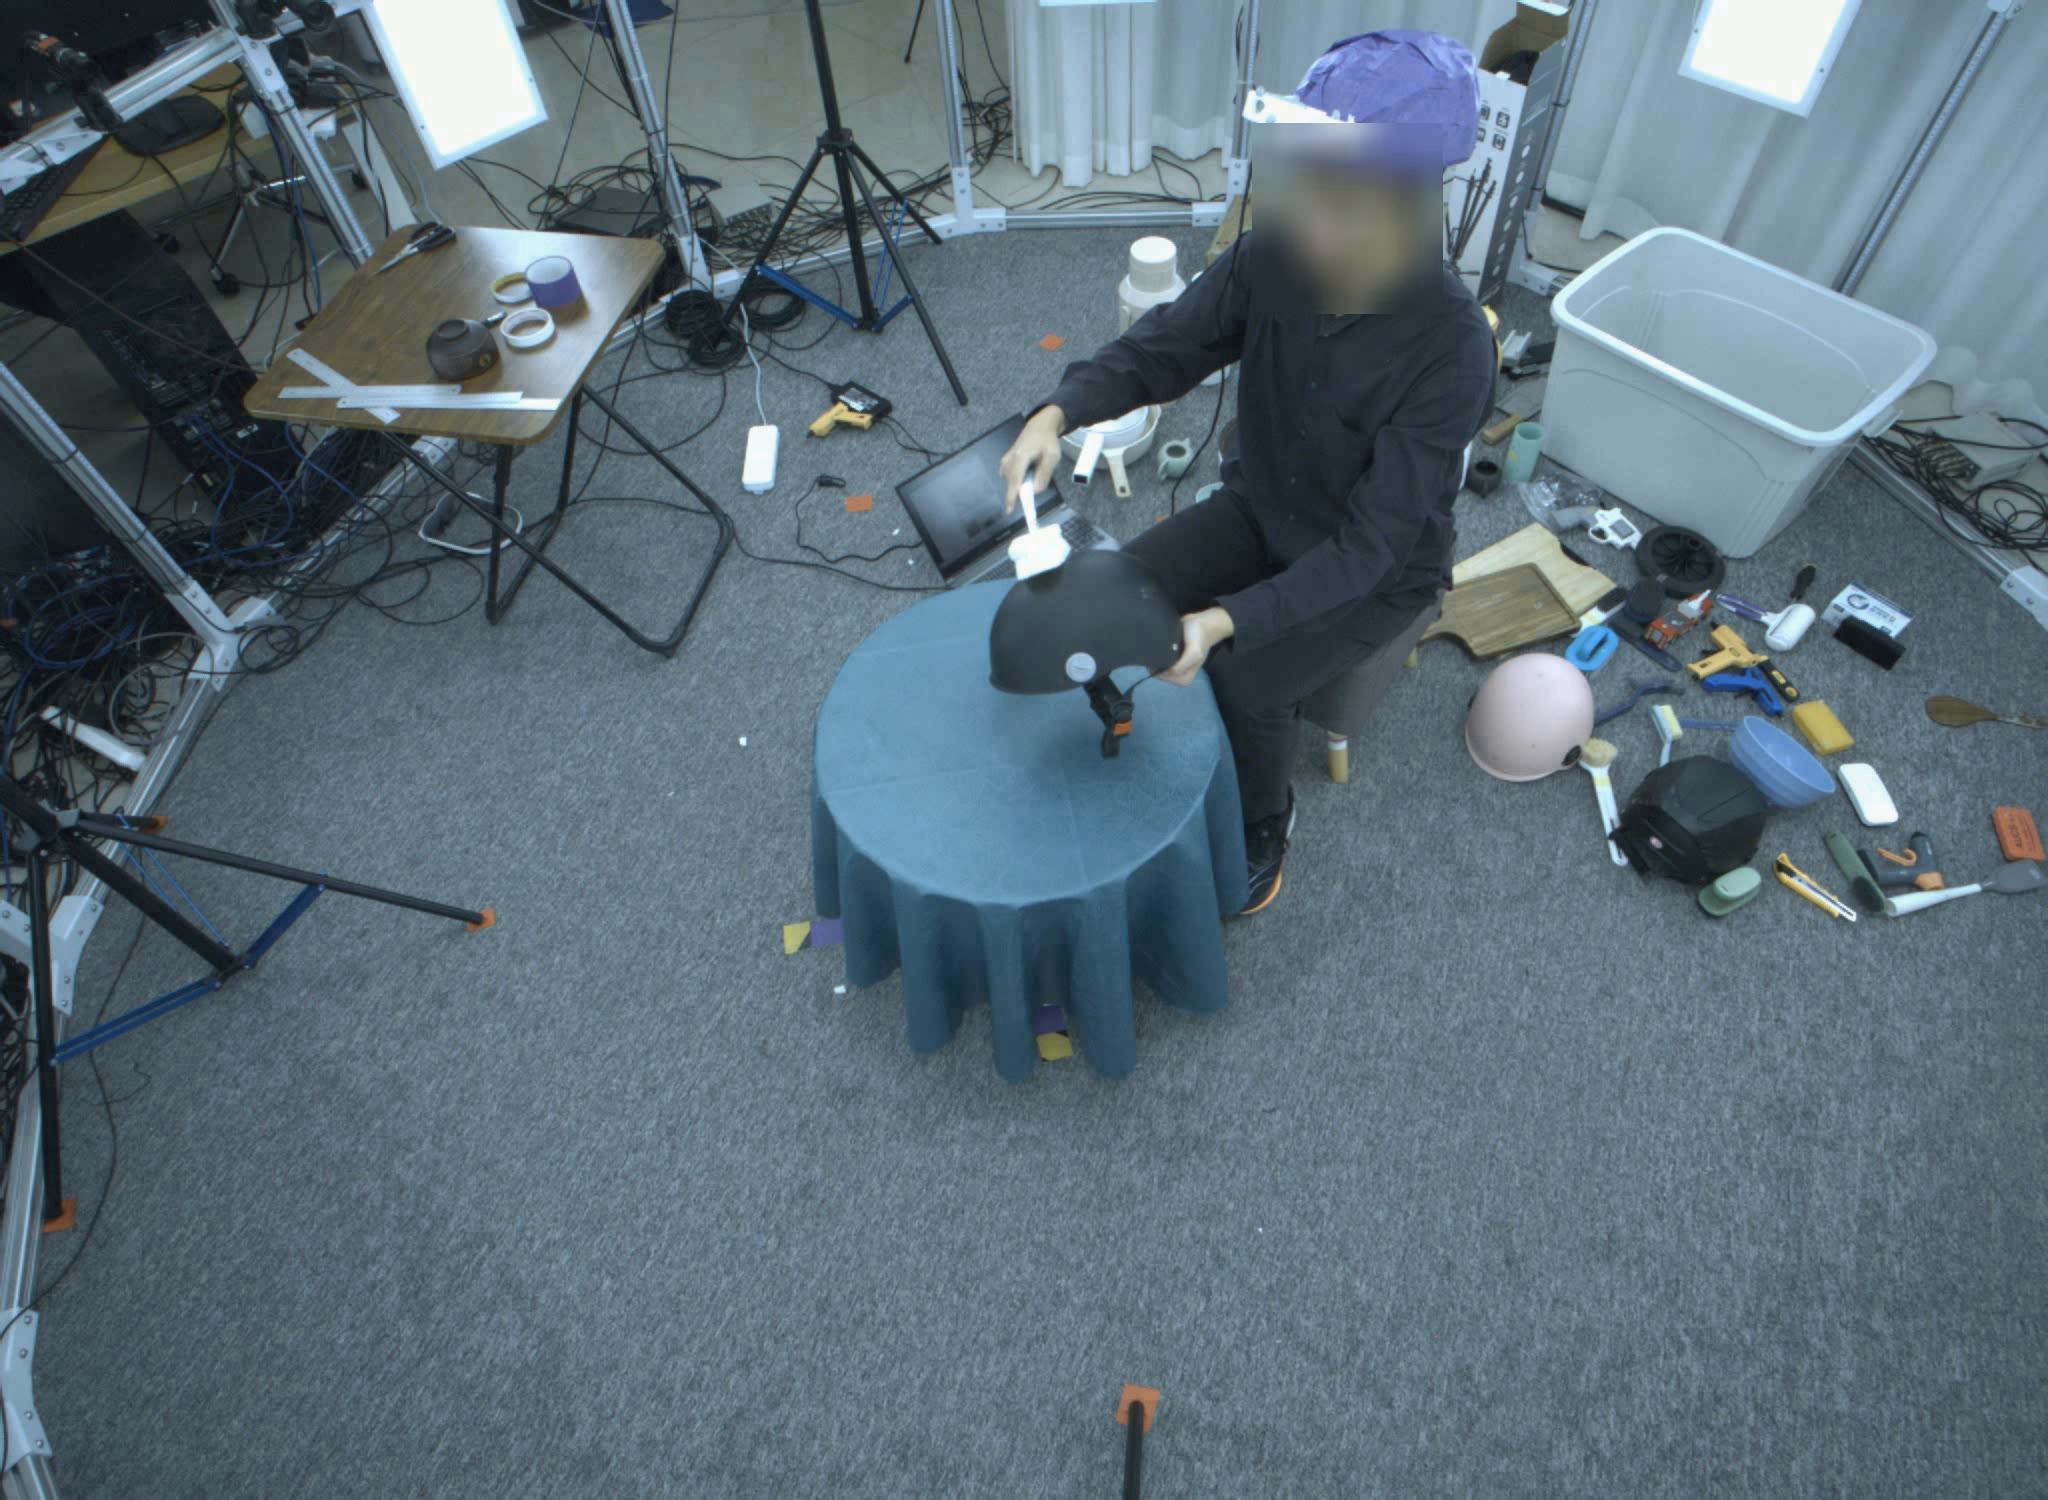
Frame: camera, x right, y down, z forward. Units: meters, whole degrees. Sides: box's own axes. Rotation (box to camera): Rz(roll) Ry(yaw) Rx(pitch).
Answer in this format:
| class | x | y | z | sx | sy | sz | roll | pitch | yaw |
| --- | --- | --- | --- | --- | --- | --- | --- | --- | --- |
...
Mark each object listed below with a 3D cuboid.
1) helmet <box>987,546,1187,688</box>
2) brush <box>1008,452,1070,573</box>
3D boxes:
| class | x | y | z | sx | sy | sz | roll | pitch | yaw |
| --- | --- | --- | --- | --- | --- | --- | --- | --- | --- |
| helmet | 0.077 | -0.184 | 1.633 | 0.275 | 0.168 | 0.226 | -10 | 21 | -10 |
| brush | 0.023 | -0.315 | 1.671 | 0.083 | 0.085 | 0.322 | 13 | 33 | -6 |
